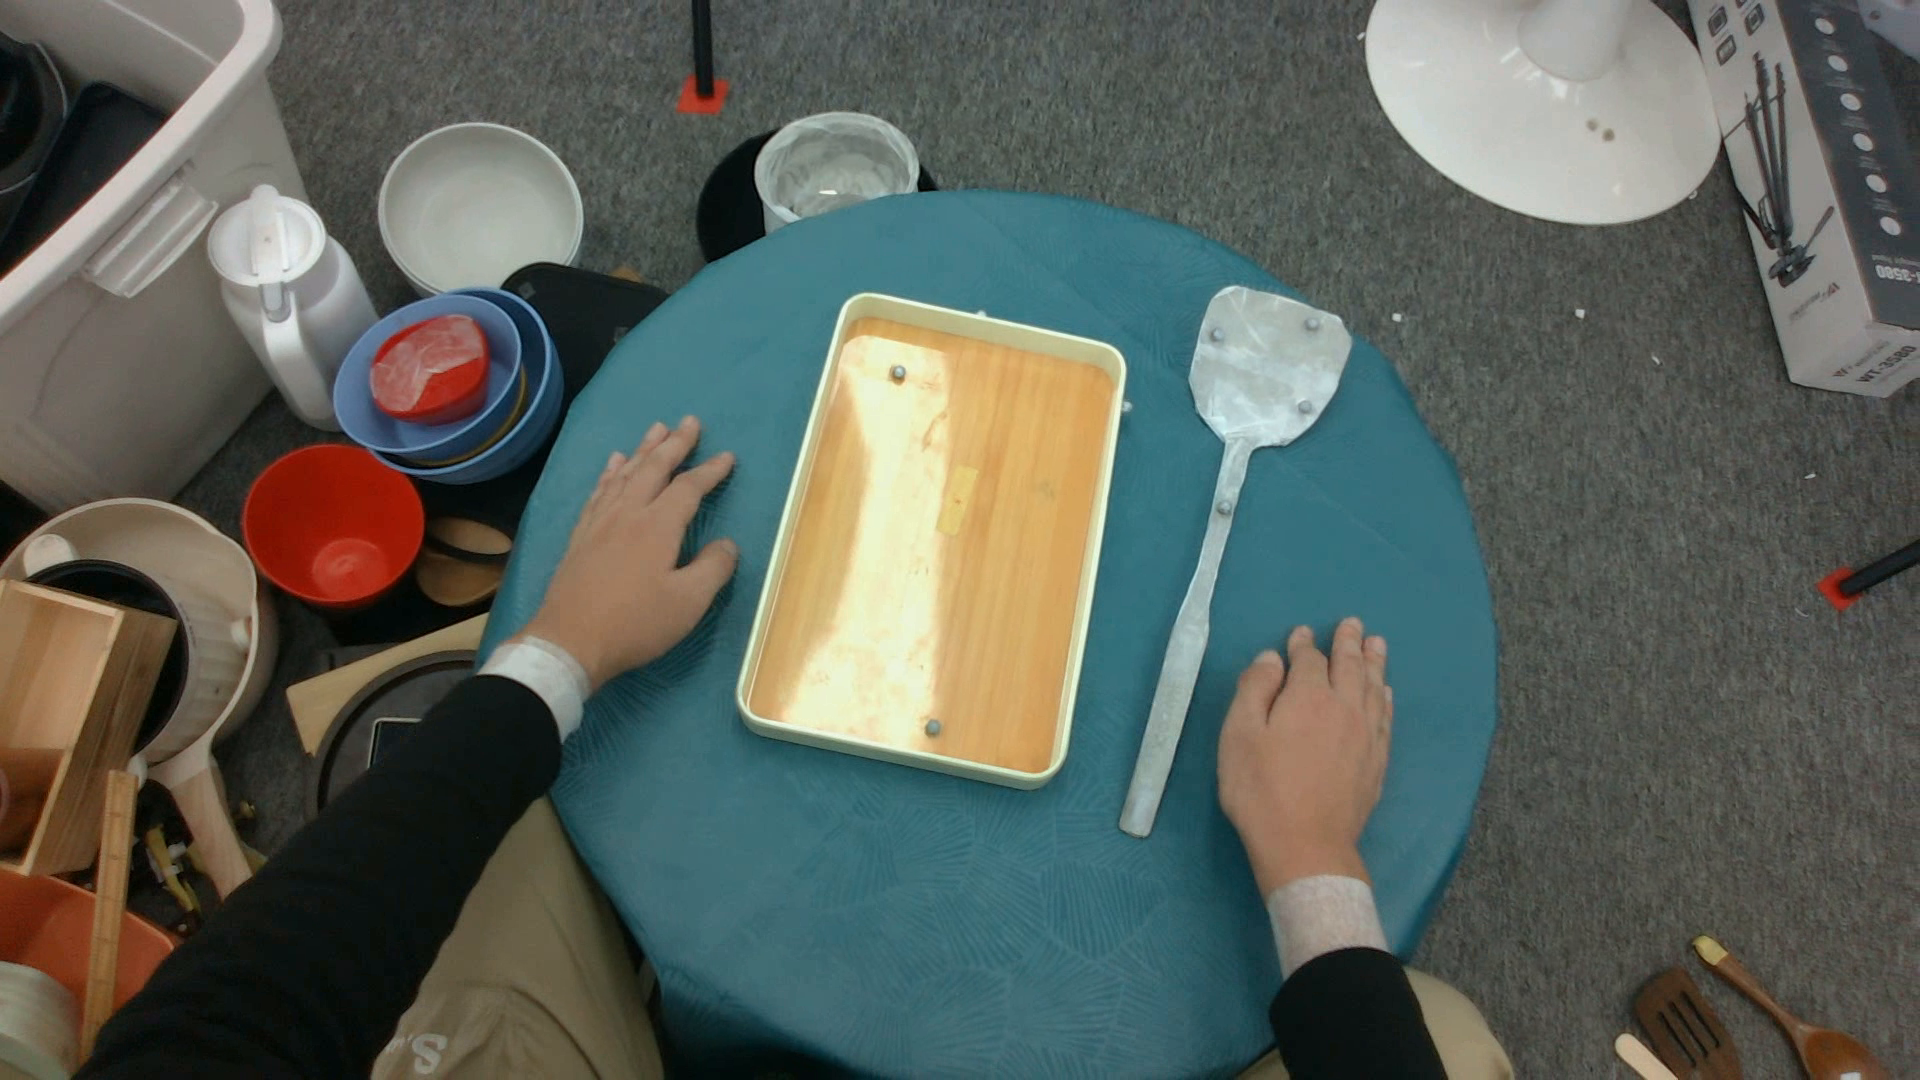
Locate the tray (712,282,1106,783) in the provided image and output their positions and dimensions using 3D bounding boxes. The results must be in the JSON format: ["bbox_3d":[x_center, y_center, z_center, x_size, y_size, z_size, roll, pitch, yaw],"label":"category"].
[{"bbox_3d":[-0.023,-0.014,0.836,0.191,0.027,0.301,13,63,-2],"label":"tray"}]

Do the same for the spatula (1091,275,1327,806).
[{"bbox_3d":[0.144,-0.007,0.849,0.099,0.044,0.366,19,63,1],"label":"spatula"}]
